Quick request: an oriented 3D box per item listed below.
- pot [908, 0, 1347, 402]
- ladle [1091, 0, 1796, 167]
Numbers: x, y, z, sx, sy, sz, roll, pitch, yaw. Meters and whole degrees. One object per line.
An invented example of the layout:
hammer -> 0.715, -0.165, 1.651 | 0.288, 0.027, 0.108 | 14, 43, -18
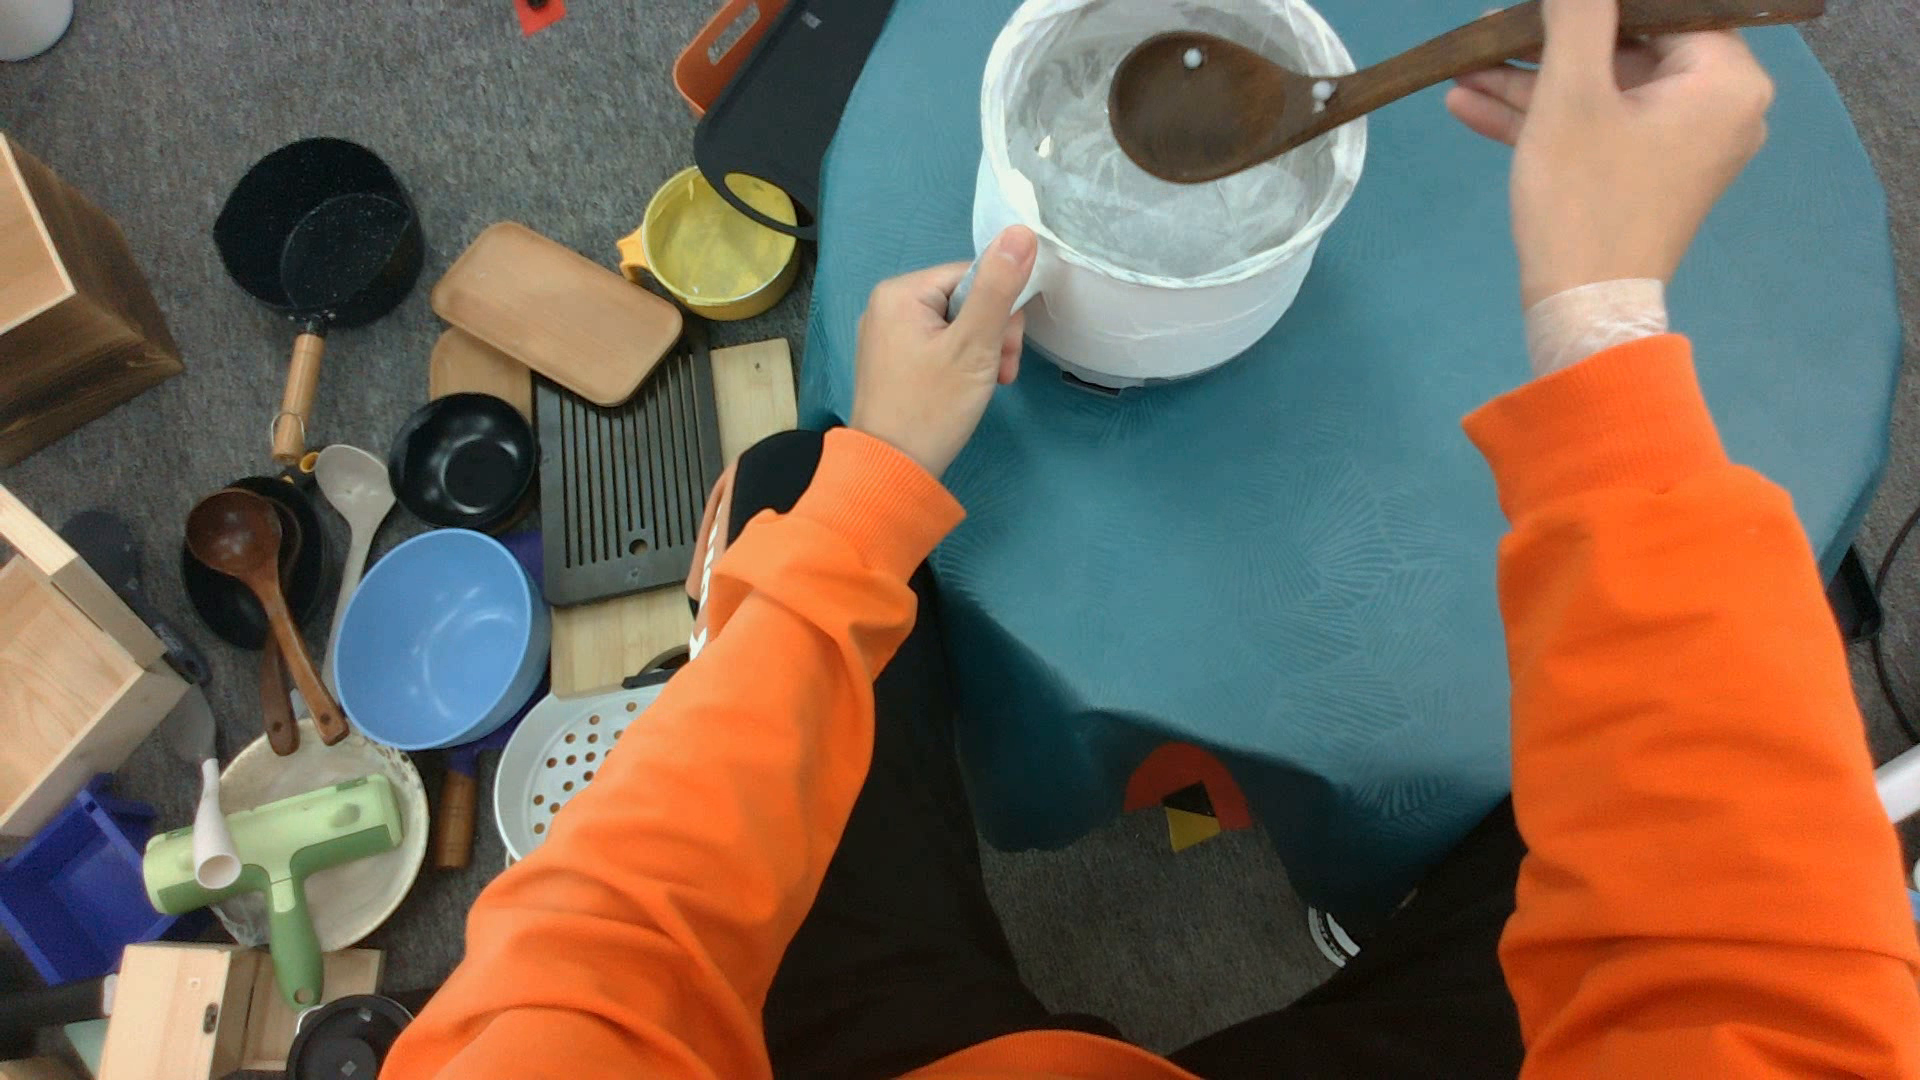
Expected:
pot -> 0.068, -0.165, 0.685 | 0.234, 0.136, 0.179 | -43, 78, -13
ladle -> 0.169, -0.201, 0.533 | 0.273, 0.071, 0.076 | 1, 75, 49
